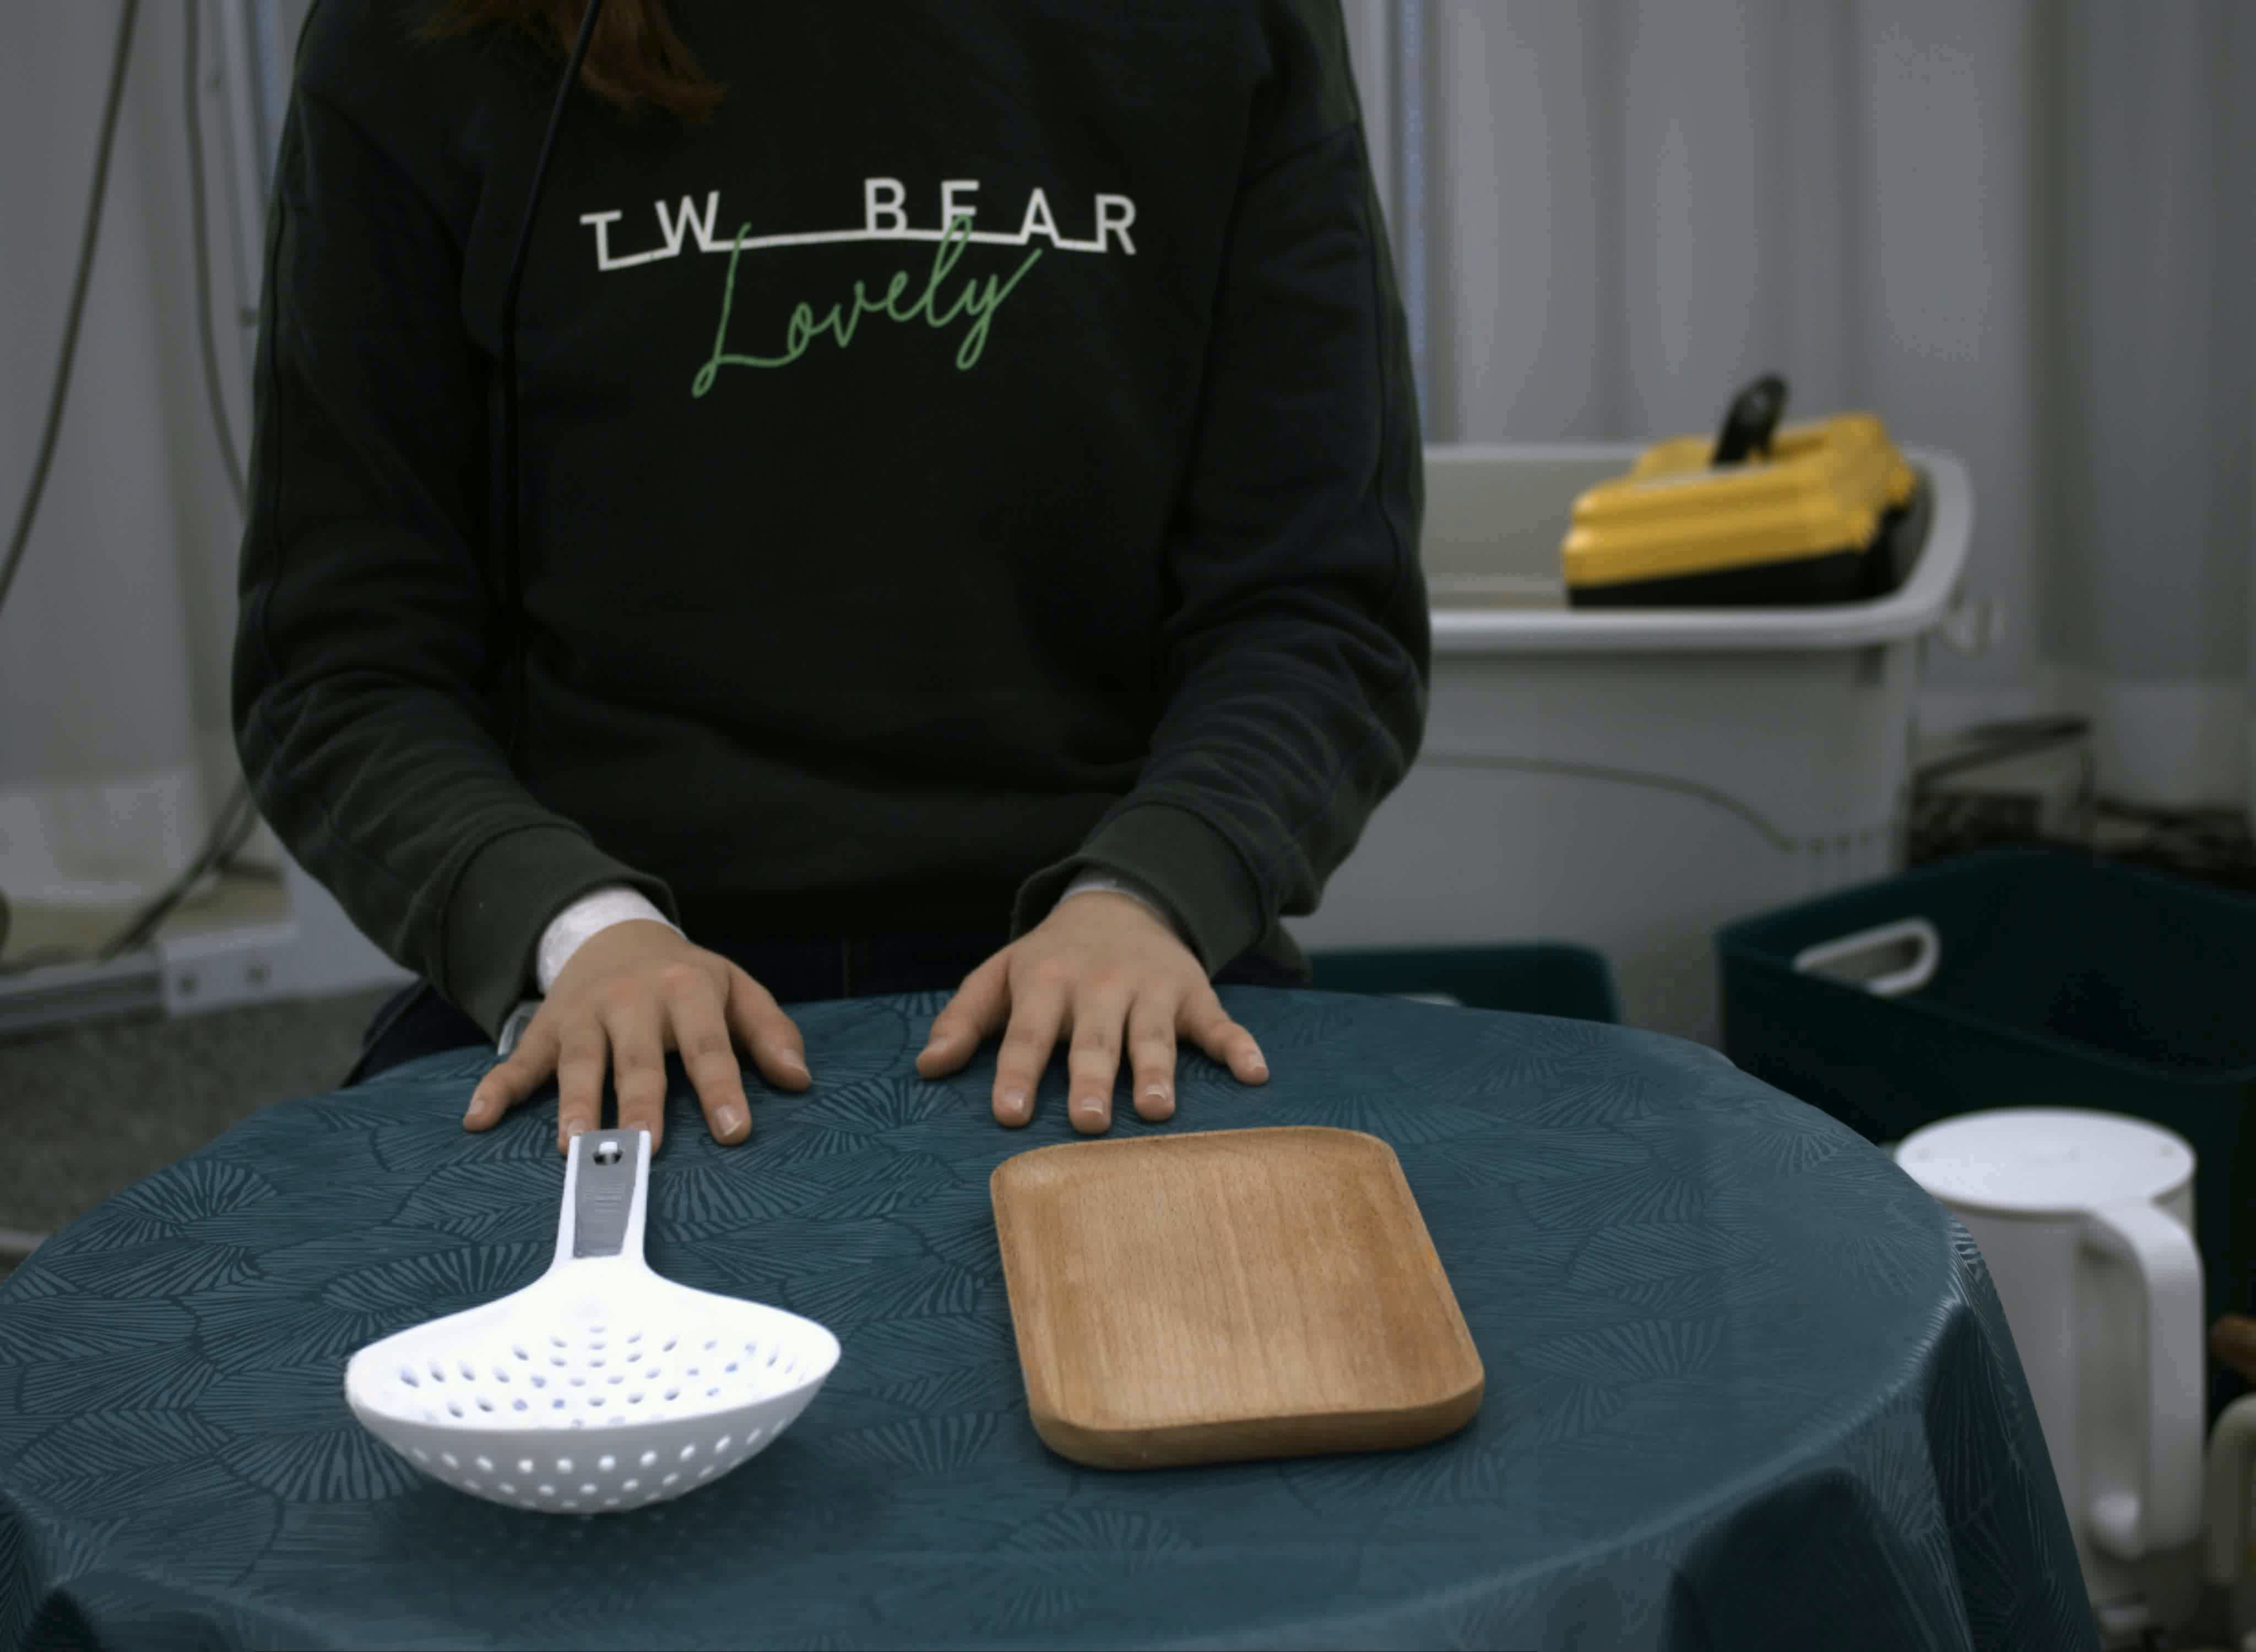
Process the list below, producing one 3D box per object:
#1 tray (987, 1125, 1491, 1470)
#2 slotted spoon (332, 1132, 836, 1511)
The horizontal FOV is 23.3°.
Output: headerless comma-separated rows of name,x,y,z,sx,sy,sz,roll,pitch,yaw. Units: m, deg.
tray,0.028,0.135,1.601,0.130,0.023,0.252,-2,14,-4
slotted spoon,-0.154,0.134,1.583,0.135,0.045,0.352,-1,14,-4
